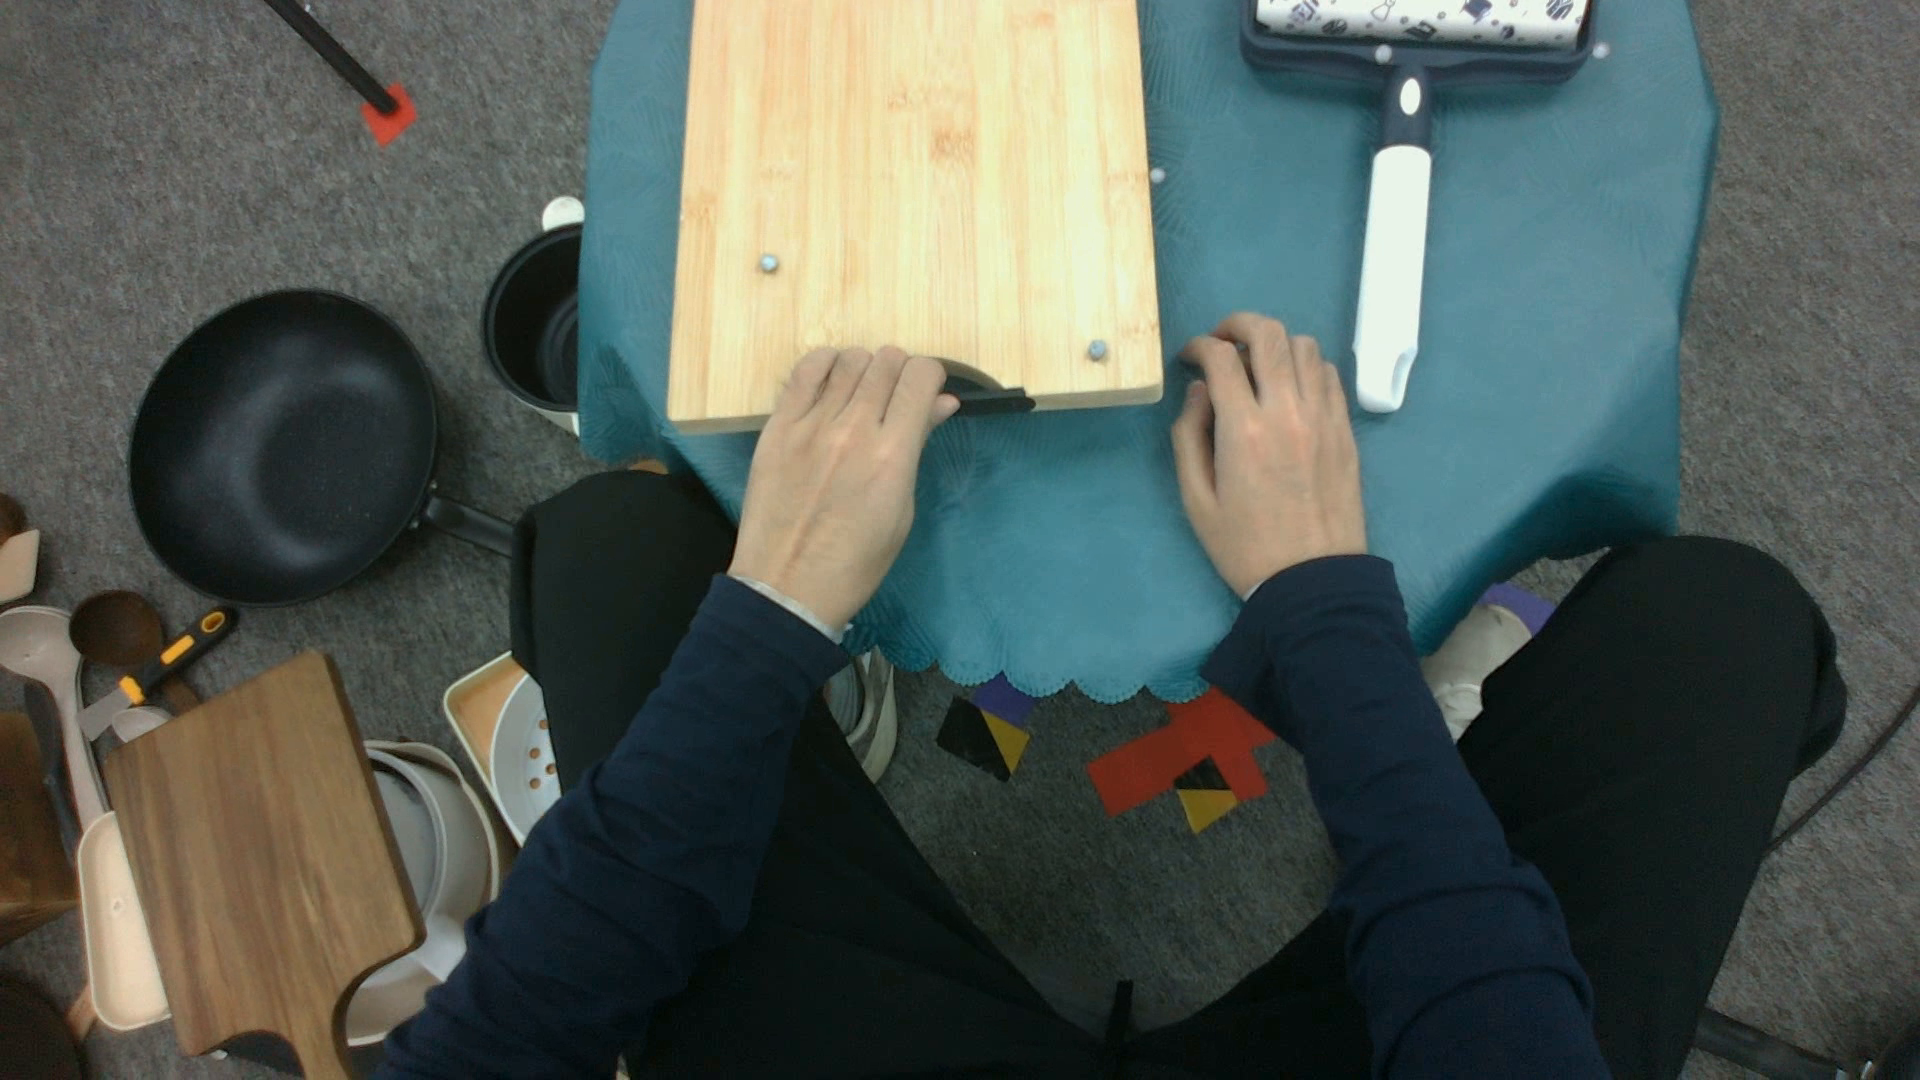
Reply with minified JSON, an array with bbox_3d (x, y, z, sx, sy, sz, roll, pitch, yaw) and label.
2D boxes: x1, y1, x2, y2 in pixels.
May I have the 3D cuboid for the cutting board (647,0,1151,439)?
[{"bbox_3d":[-0.032,-0.219,0.721,0.250,0.023,0.349,-4,68,6],"label":"cutting board"}]

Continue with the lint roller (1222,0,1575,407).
[{"bbox_3d":[0.216,-0.190,0.697,0.176,0.050,0.247,5,80,7],"label":"lint roller"}]
